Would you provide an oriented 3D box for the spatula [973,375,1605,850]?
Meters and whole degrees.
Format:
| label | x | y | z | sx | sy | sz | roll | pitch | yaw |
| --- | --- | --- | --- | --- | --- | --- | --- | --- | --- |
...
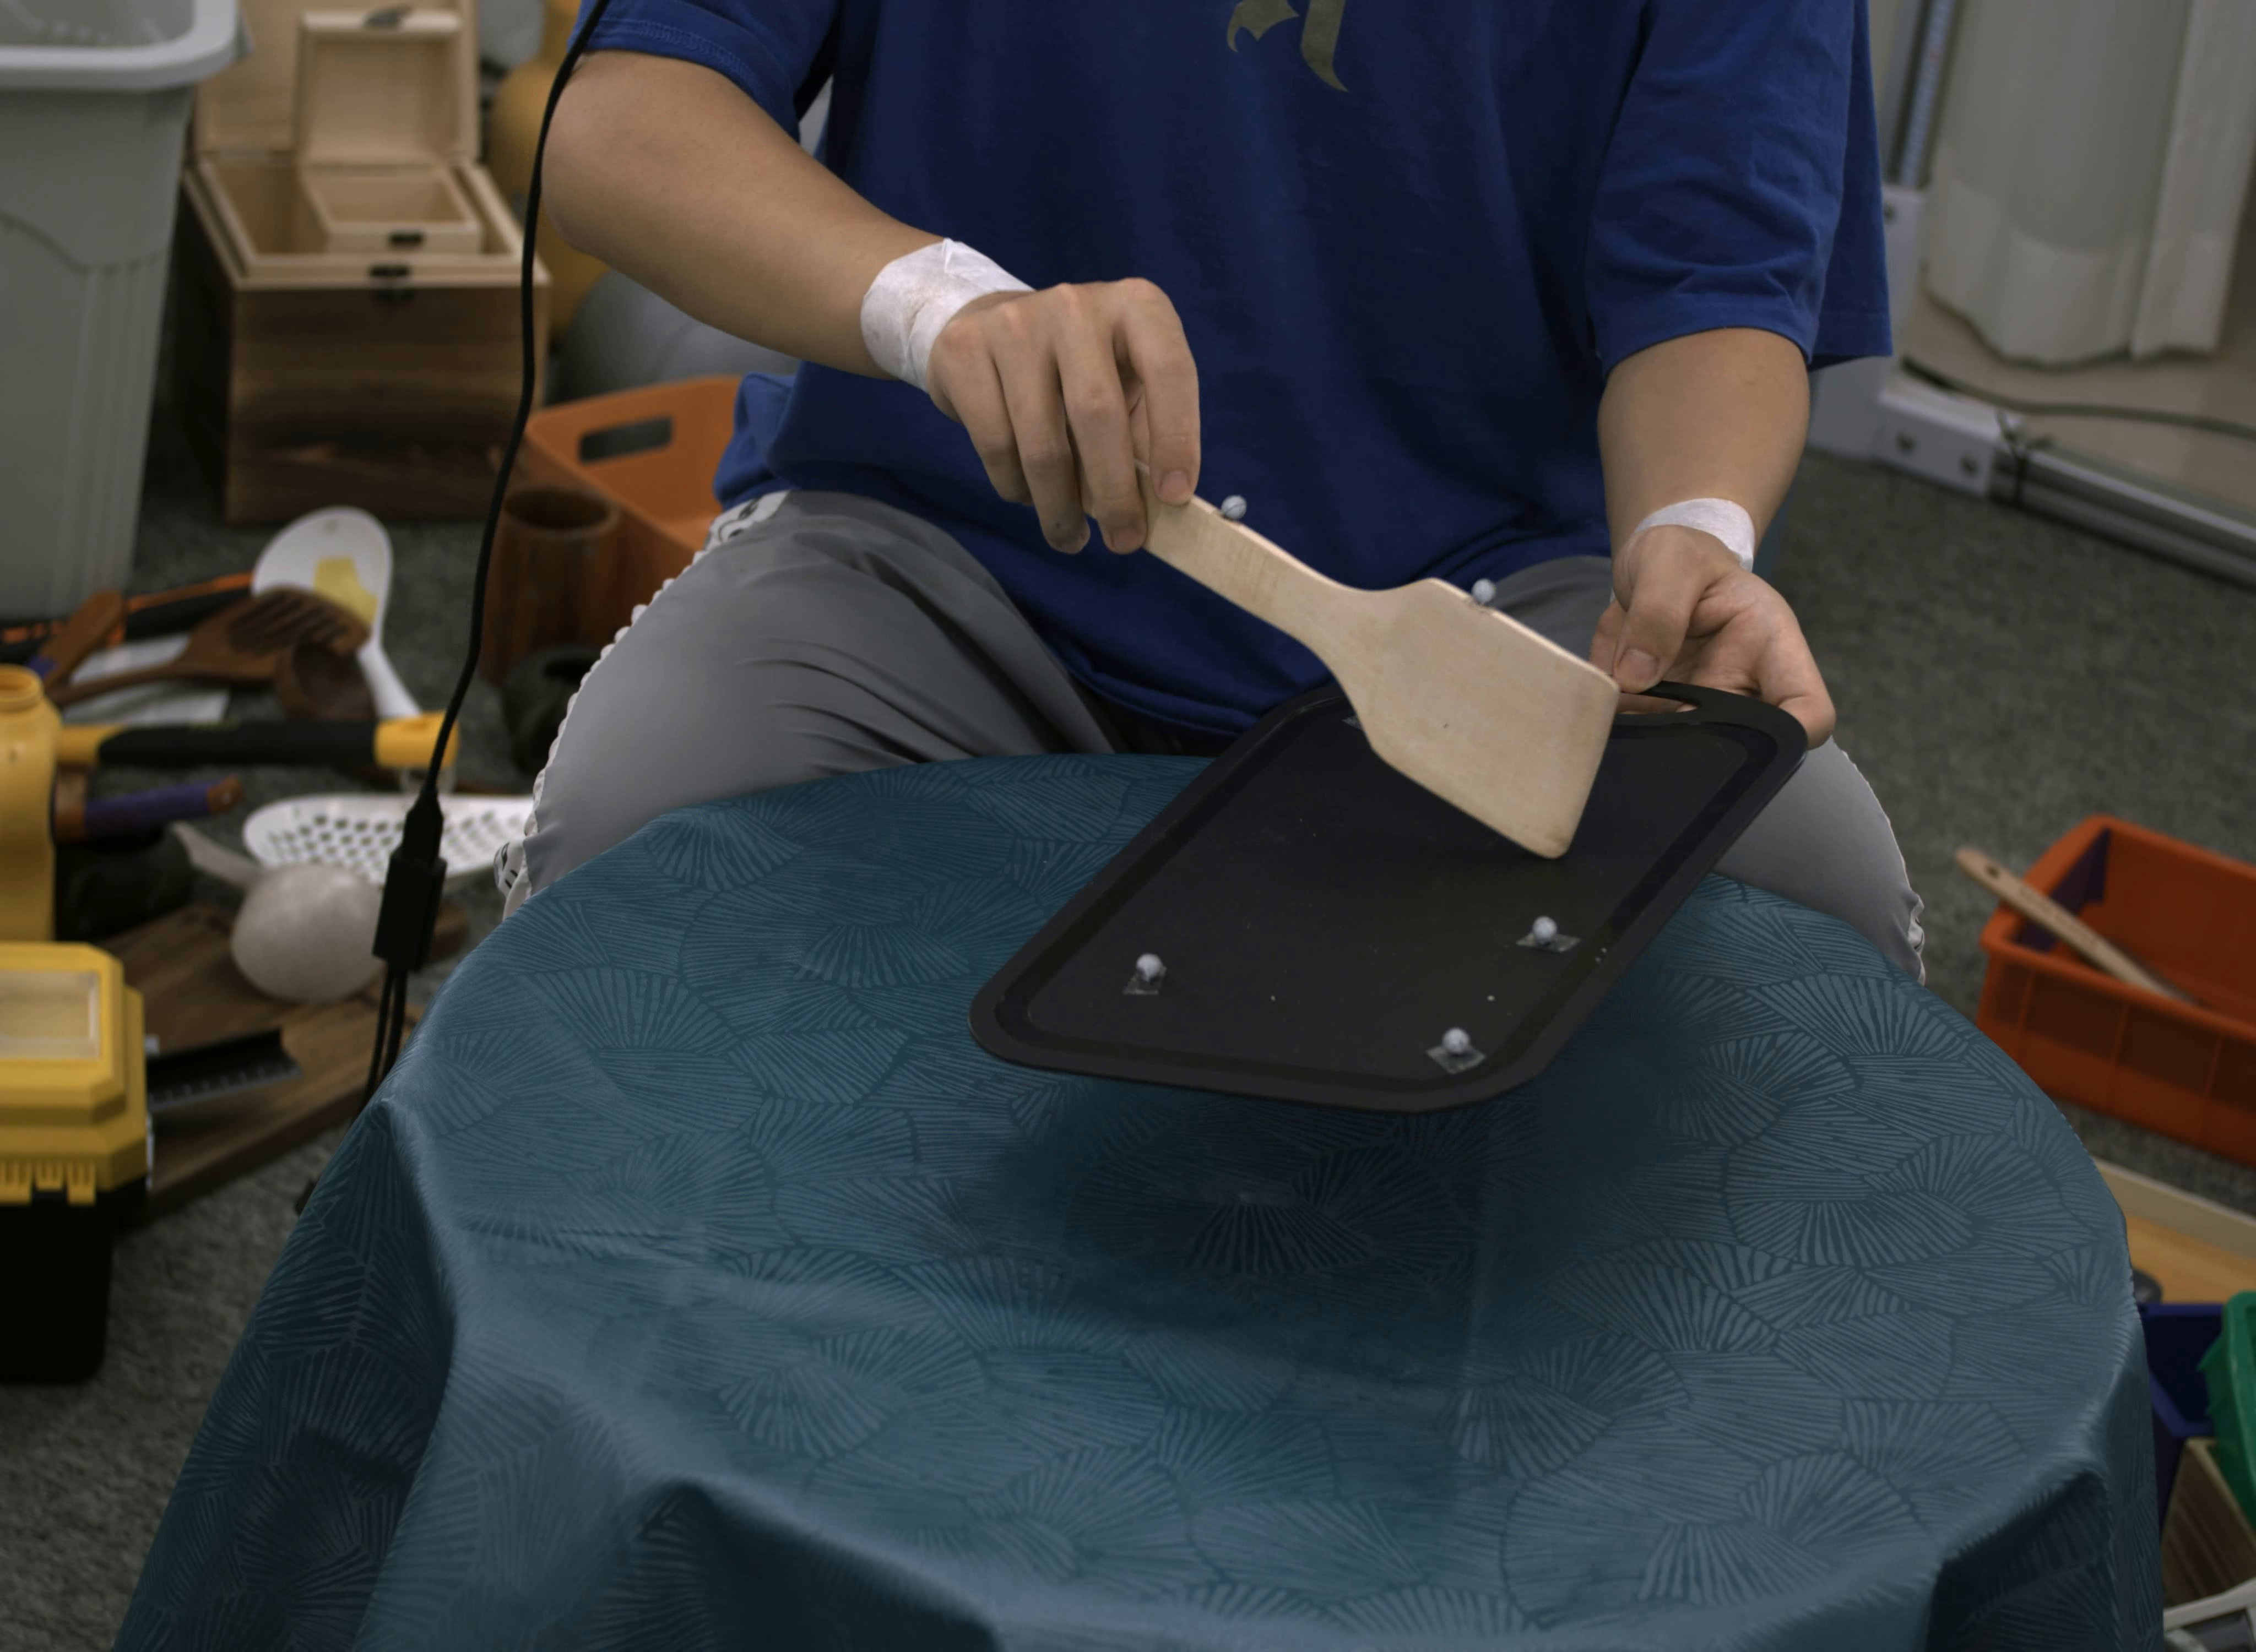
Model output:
| label | x | y | z | sx | sy | sz | roll | pitch | yaw |
| --- | --- | --- | --- | --- | --- | --- | --- | --- | --- |
| spatula | 0.048 | -0.088 | 1.868 | 0.295 | 0.072 | 0.010 | 34 | 30 | 33 |

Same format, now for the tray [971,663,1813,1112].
| label | x | y | z | sx | sy | sz | roll | pitch | yaw |
| --- | --- | --- | --- | --- | --- | --- | --- | --- | --- |
| tray | 0.097 | 0.011 | 1.818 | 0.212 | 0.010 | 0.325 | 6 | 29 | 29 |
